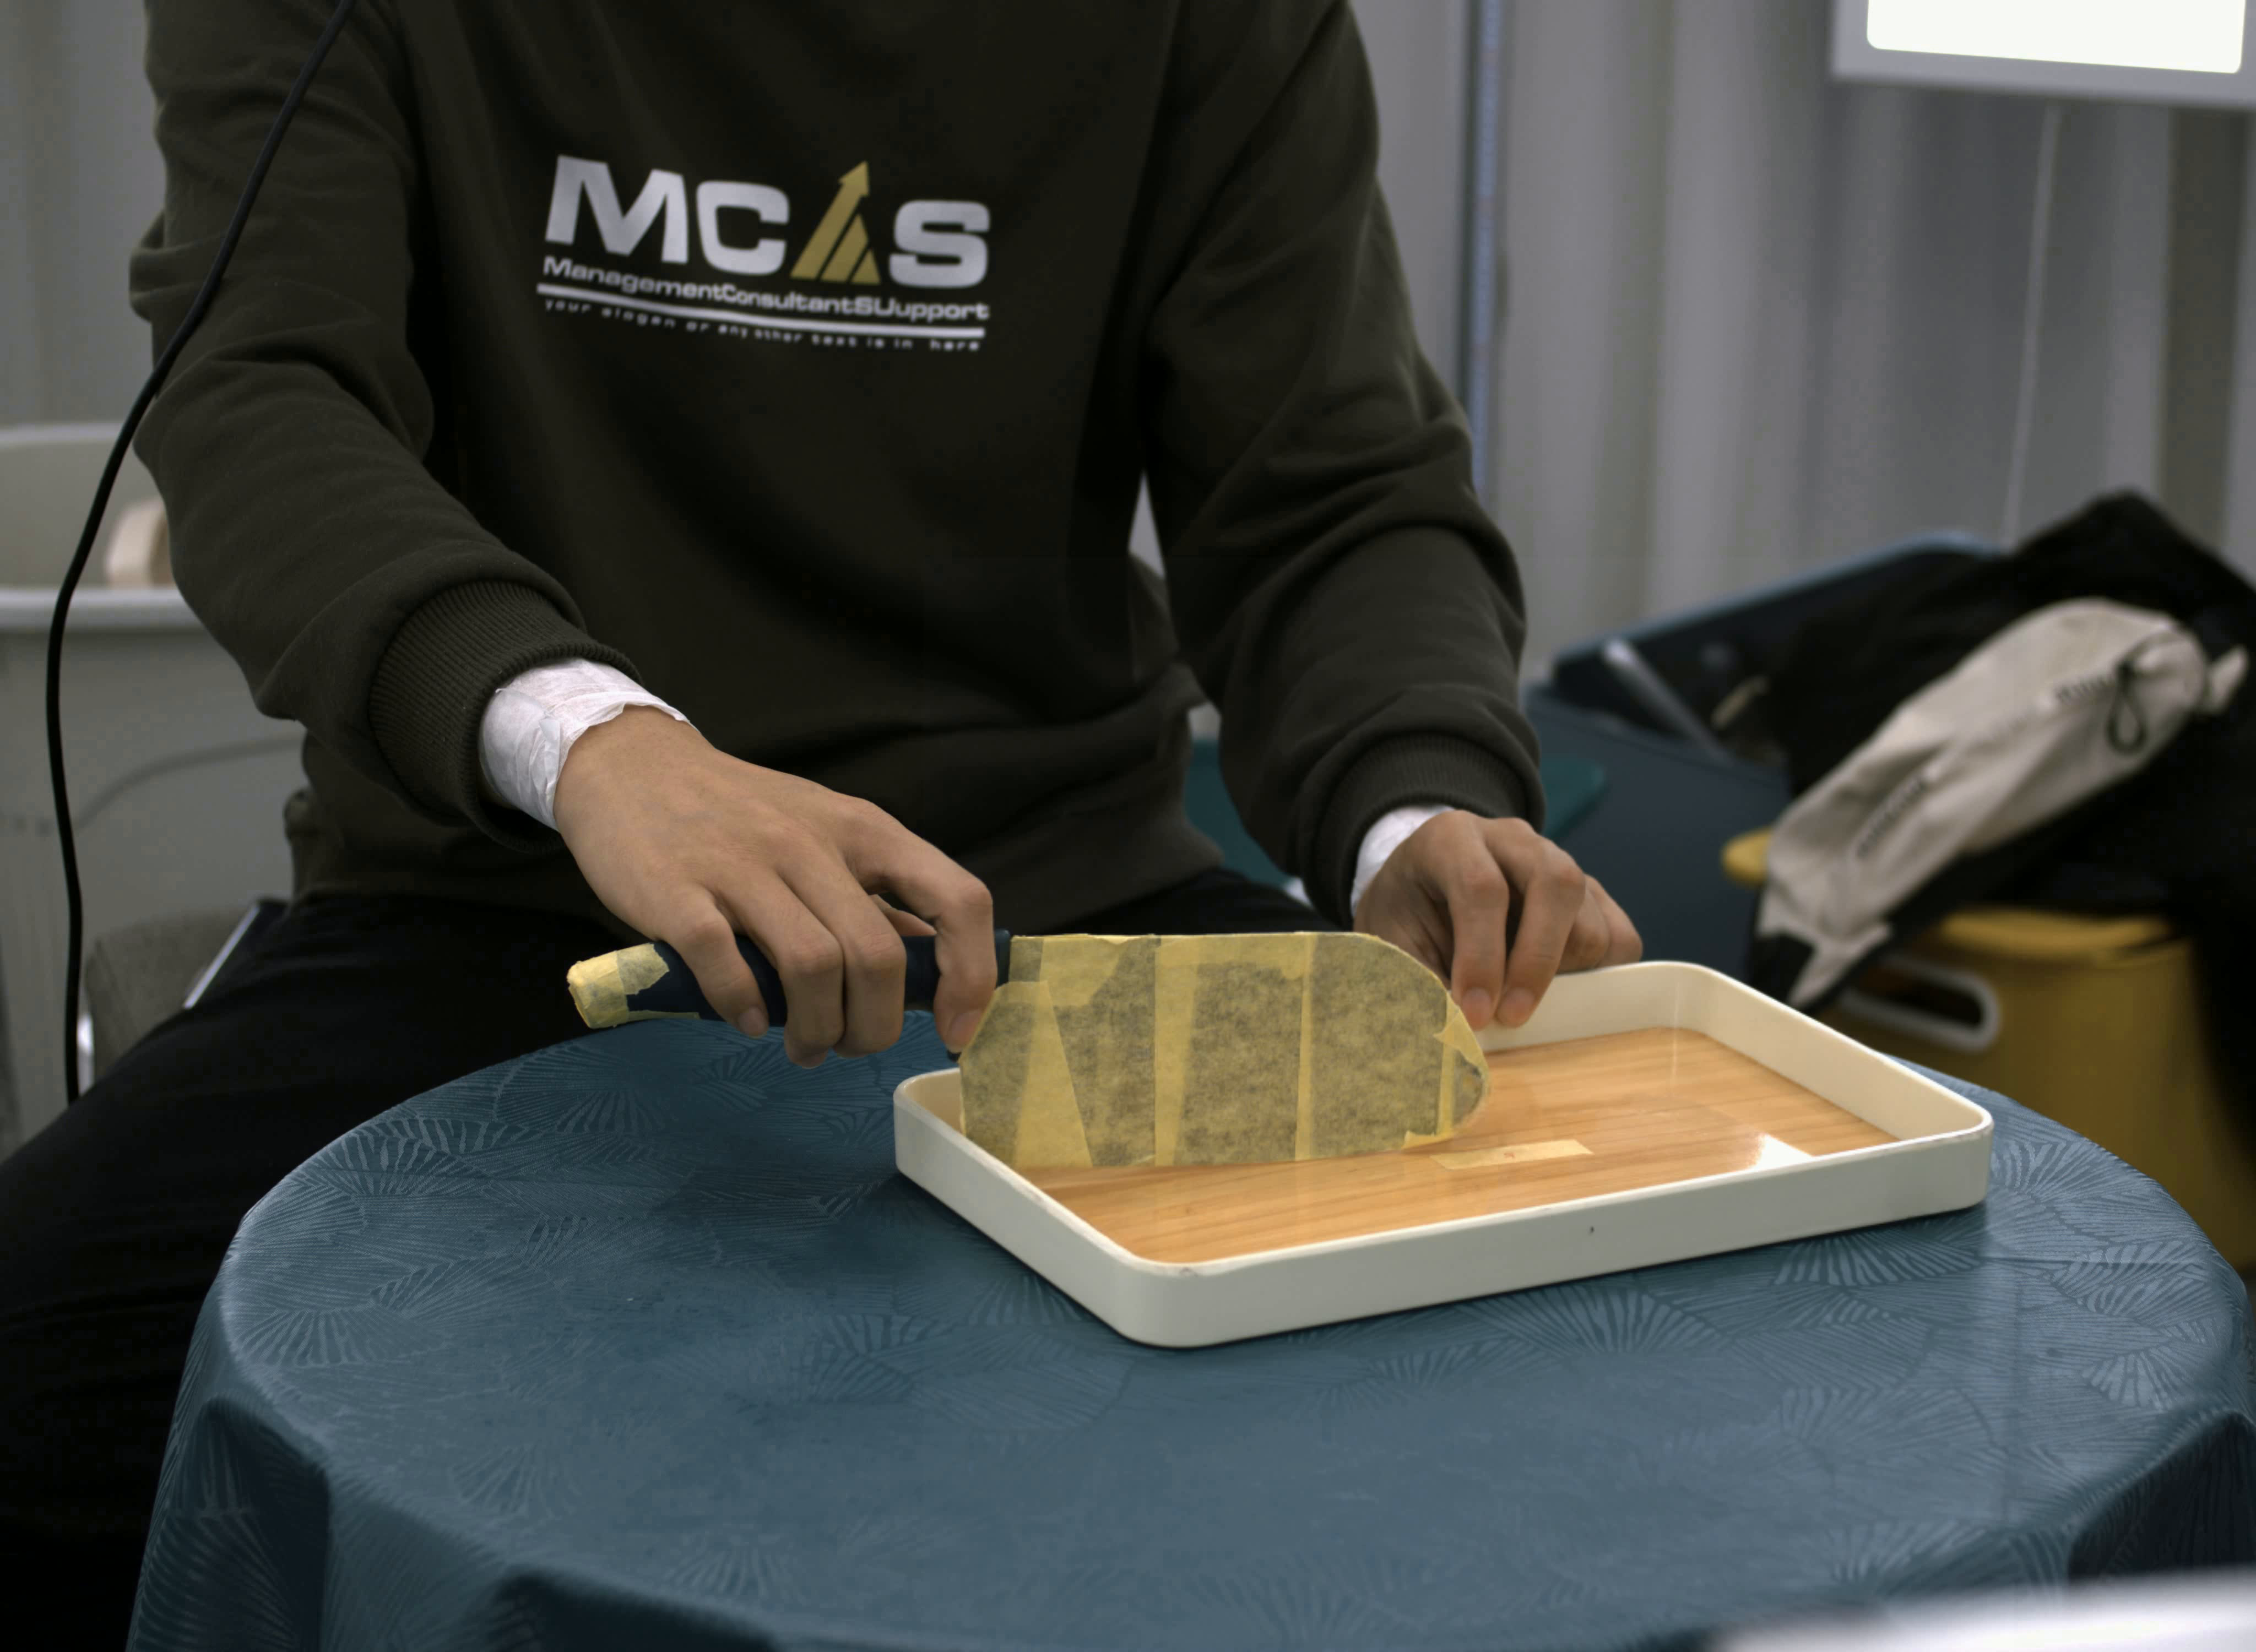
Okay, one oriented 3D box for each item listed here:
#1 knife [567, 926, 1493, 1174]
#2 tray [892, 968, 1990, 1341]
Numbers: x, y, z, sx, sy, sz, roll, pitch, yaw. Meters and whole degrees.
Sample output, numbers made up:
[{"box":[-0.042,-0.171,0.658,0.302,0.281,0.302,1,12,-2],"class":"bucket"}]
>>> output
[{"box":[-0.027,0.067,1.602,0.290,0.081,0.027,3,7,-13],"class":"knife"},{"box":[0.096,0.097,1.628,0.301,0.027,0.189,-7,17,-26],"class":"tray"}]
